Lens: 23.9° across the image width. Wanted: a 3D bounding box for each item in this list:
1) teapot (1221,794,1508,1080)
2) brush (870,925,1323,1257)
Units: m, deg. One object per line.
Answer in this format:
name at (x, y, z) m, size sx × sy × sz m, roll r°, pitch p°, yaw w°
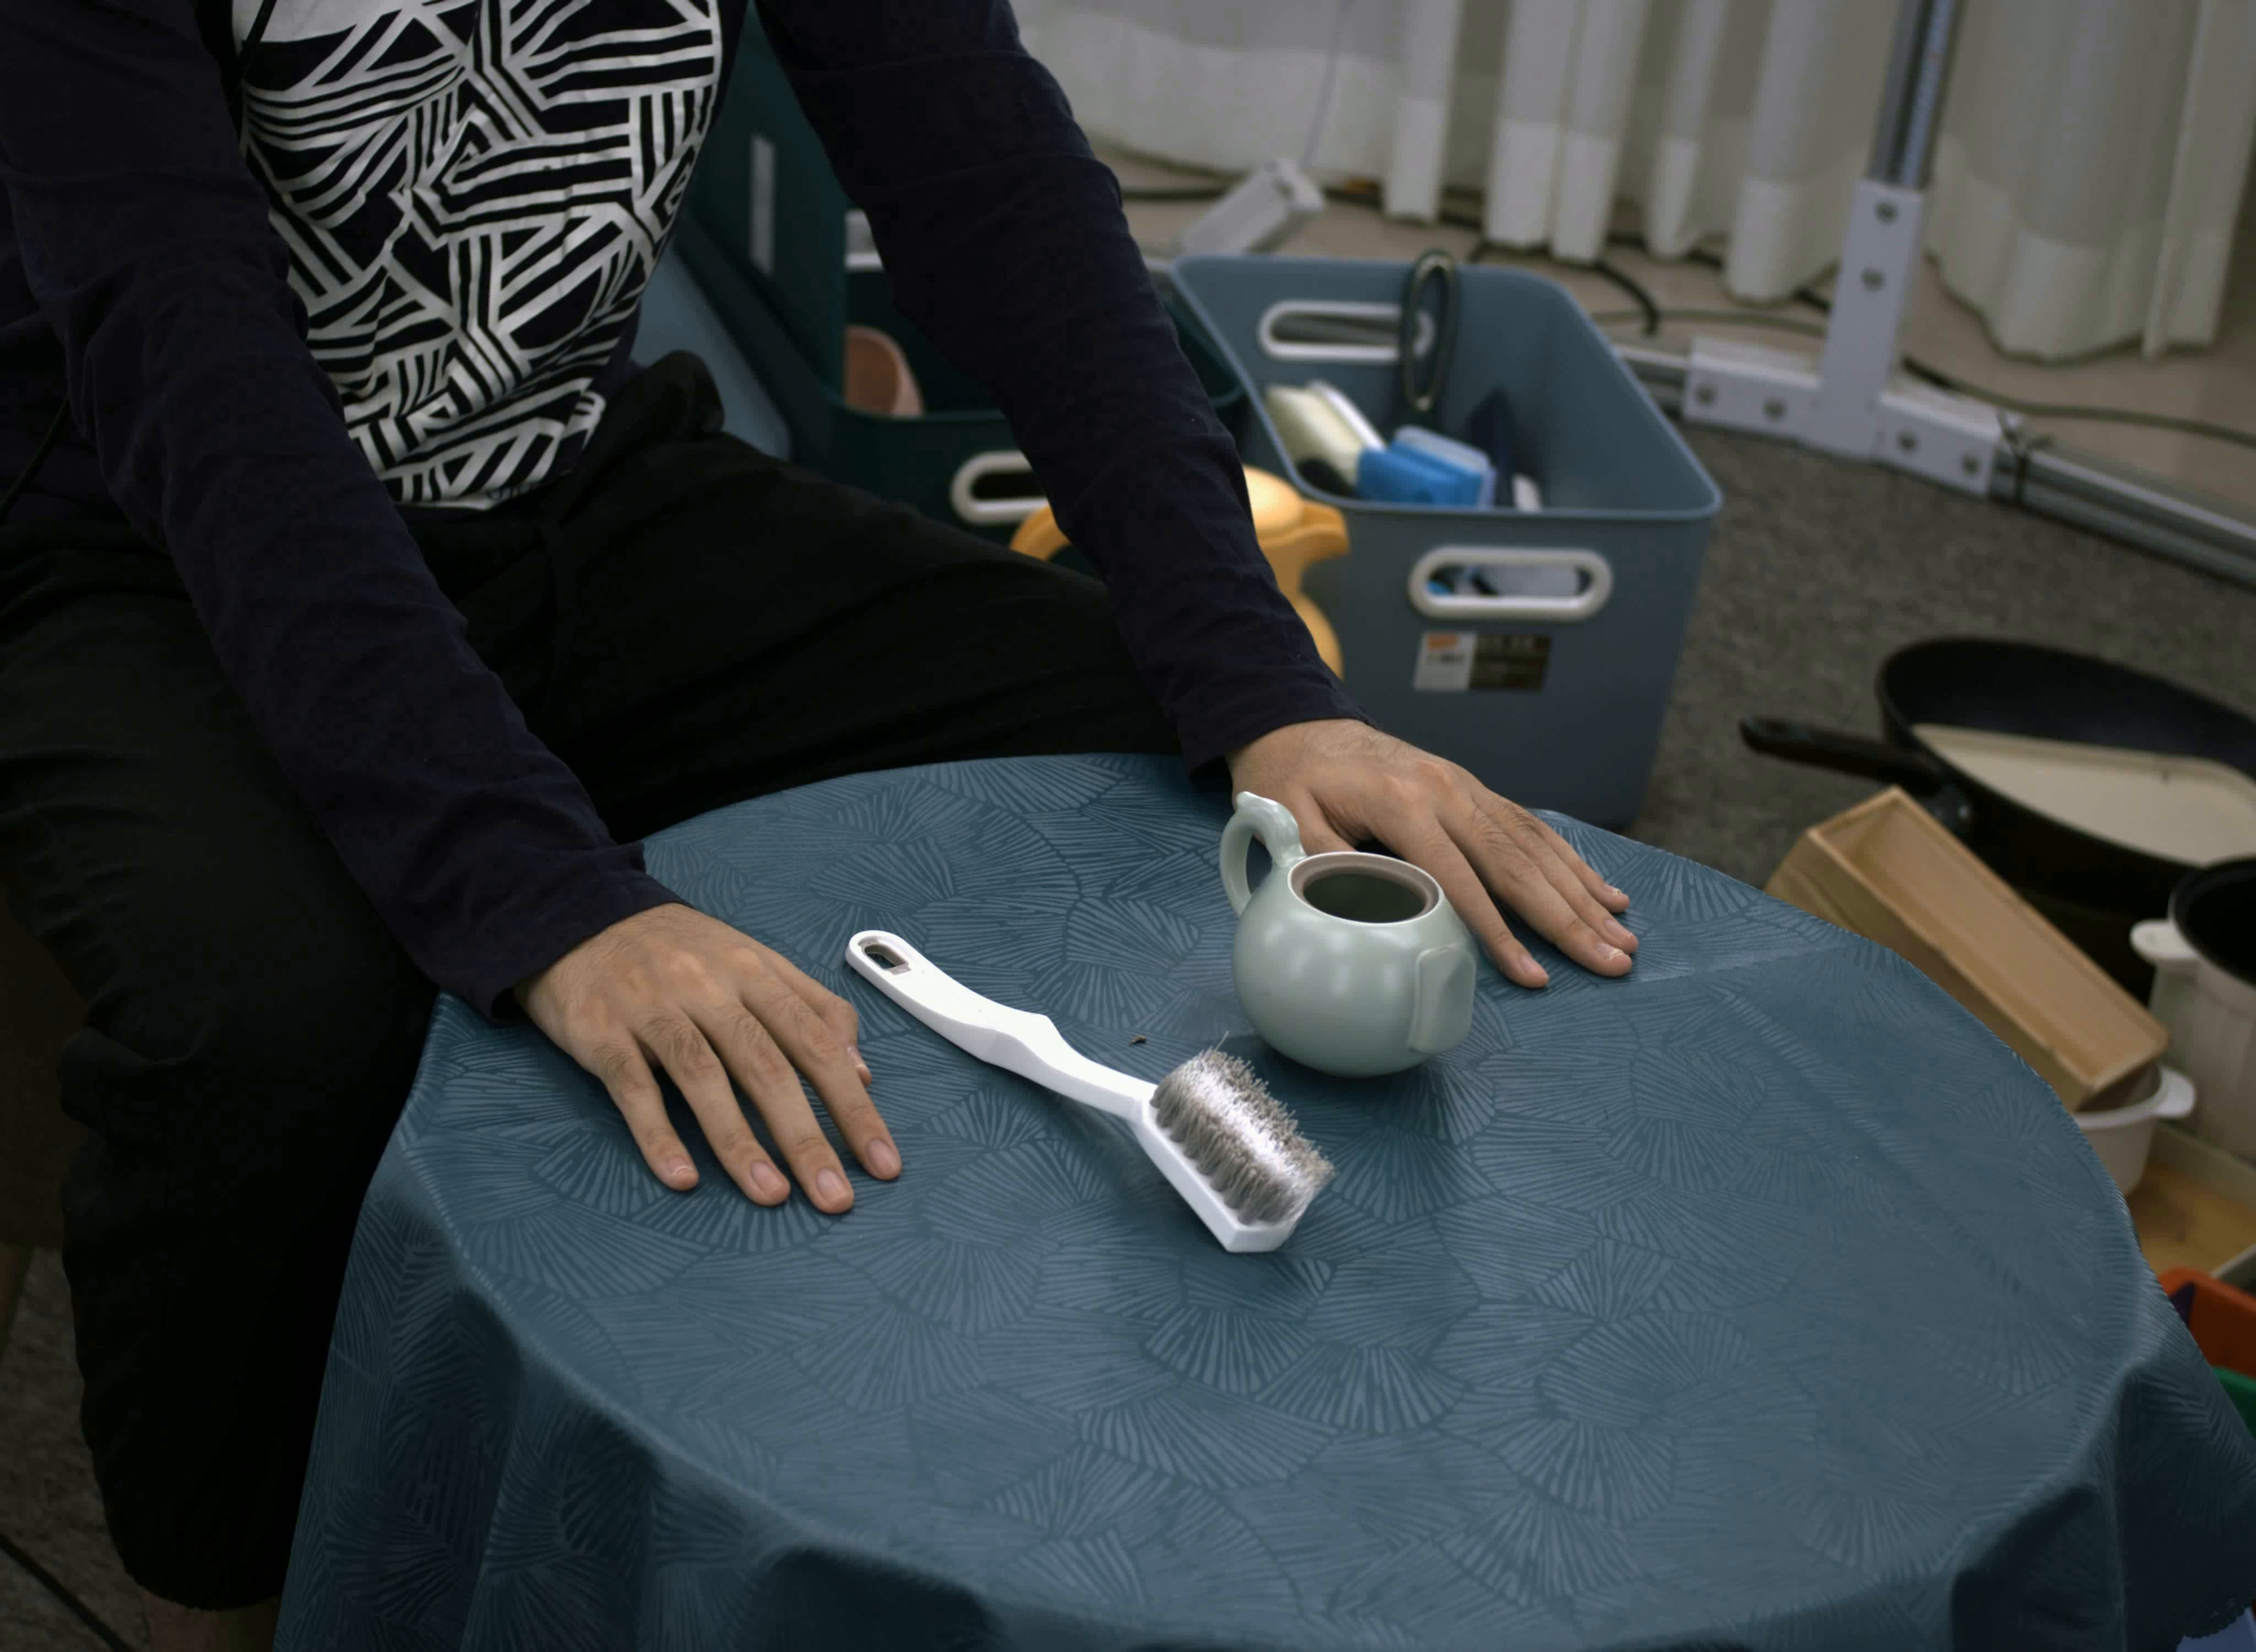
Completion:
teapot at (0.081, 0.048, 1.894) m, size 0.088 × 0.074 × 0.145 m, roll -15°, pitch 35°, yaw -34°
brush at (-0.016, 0.075, 1.847) m, size 0.034 × 0.050 × 0.246 m, roll -17°, pitch 35°, yaw -31°
